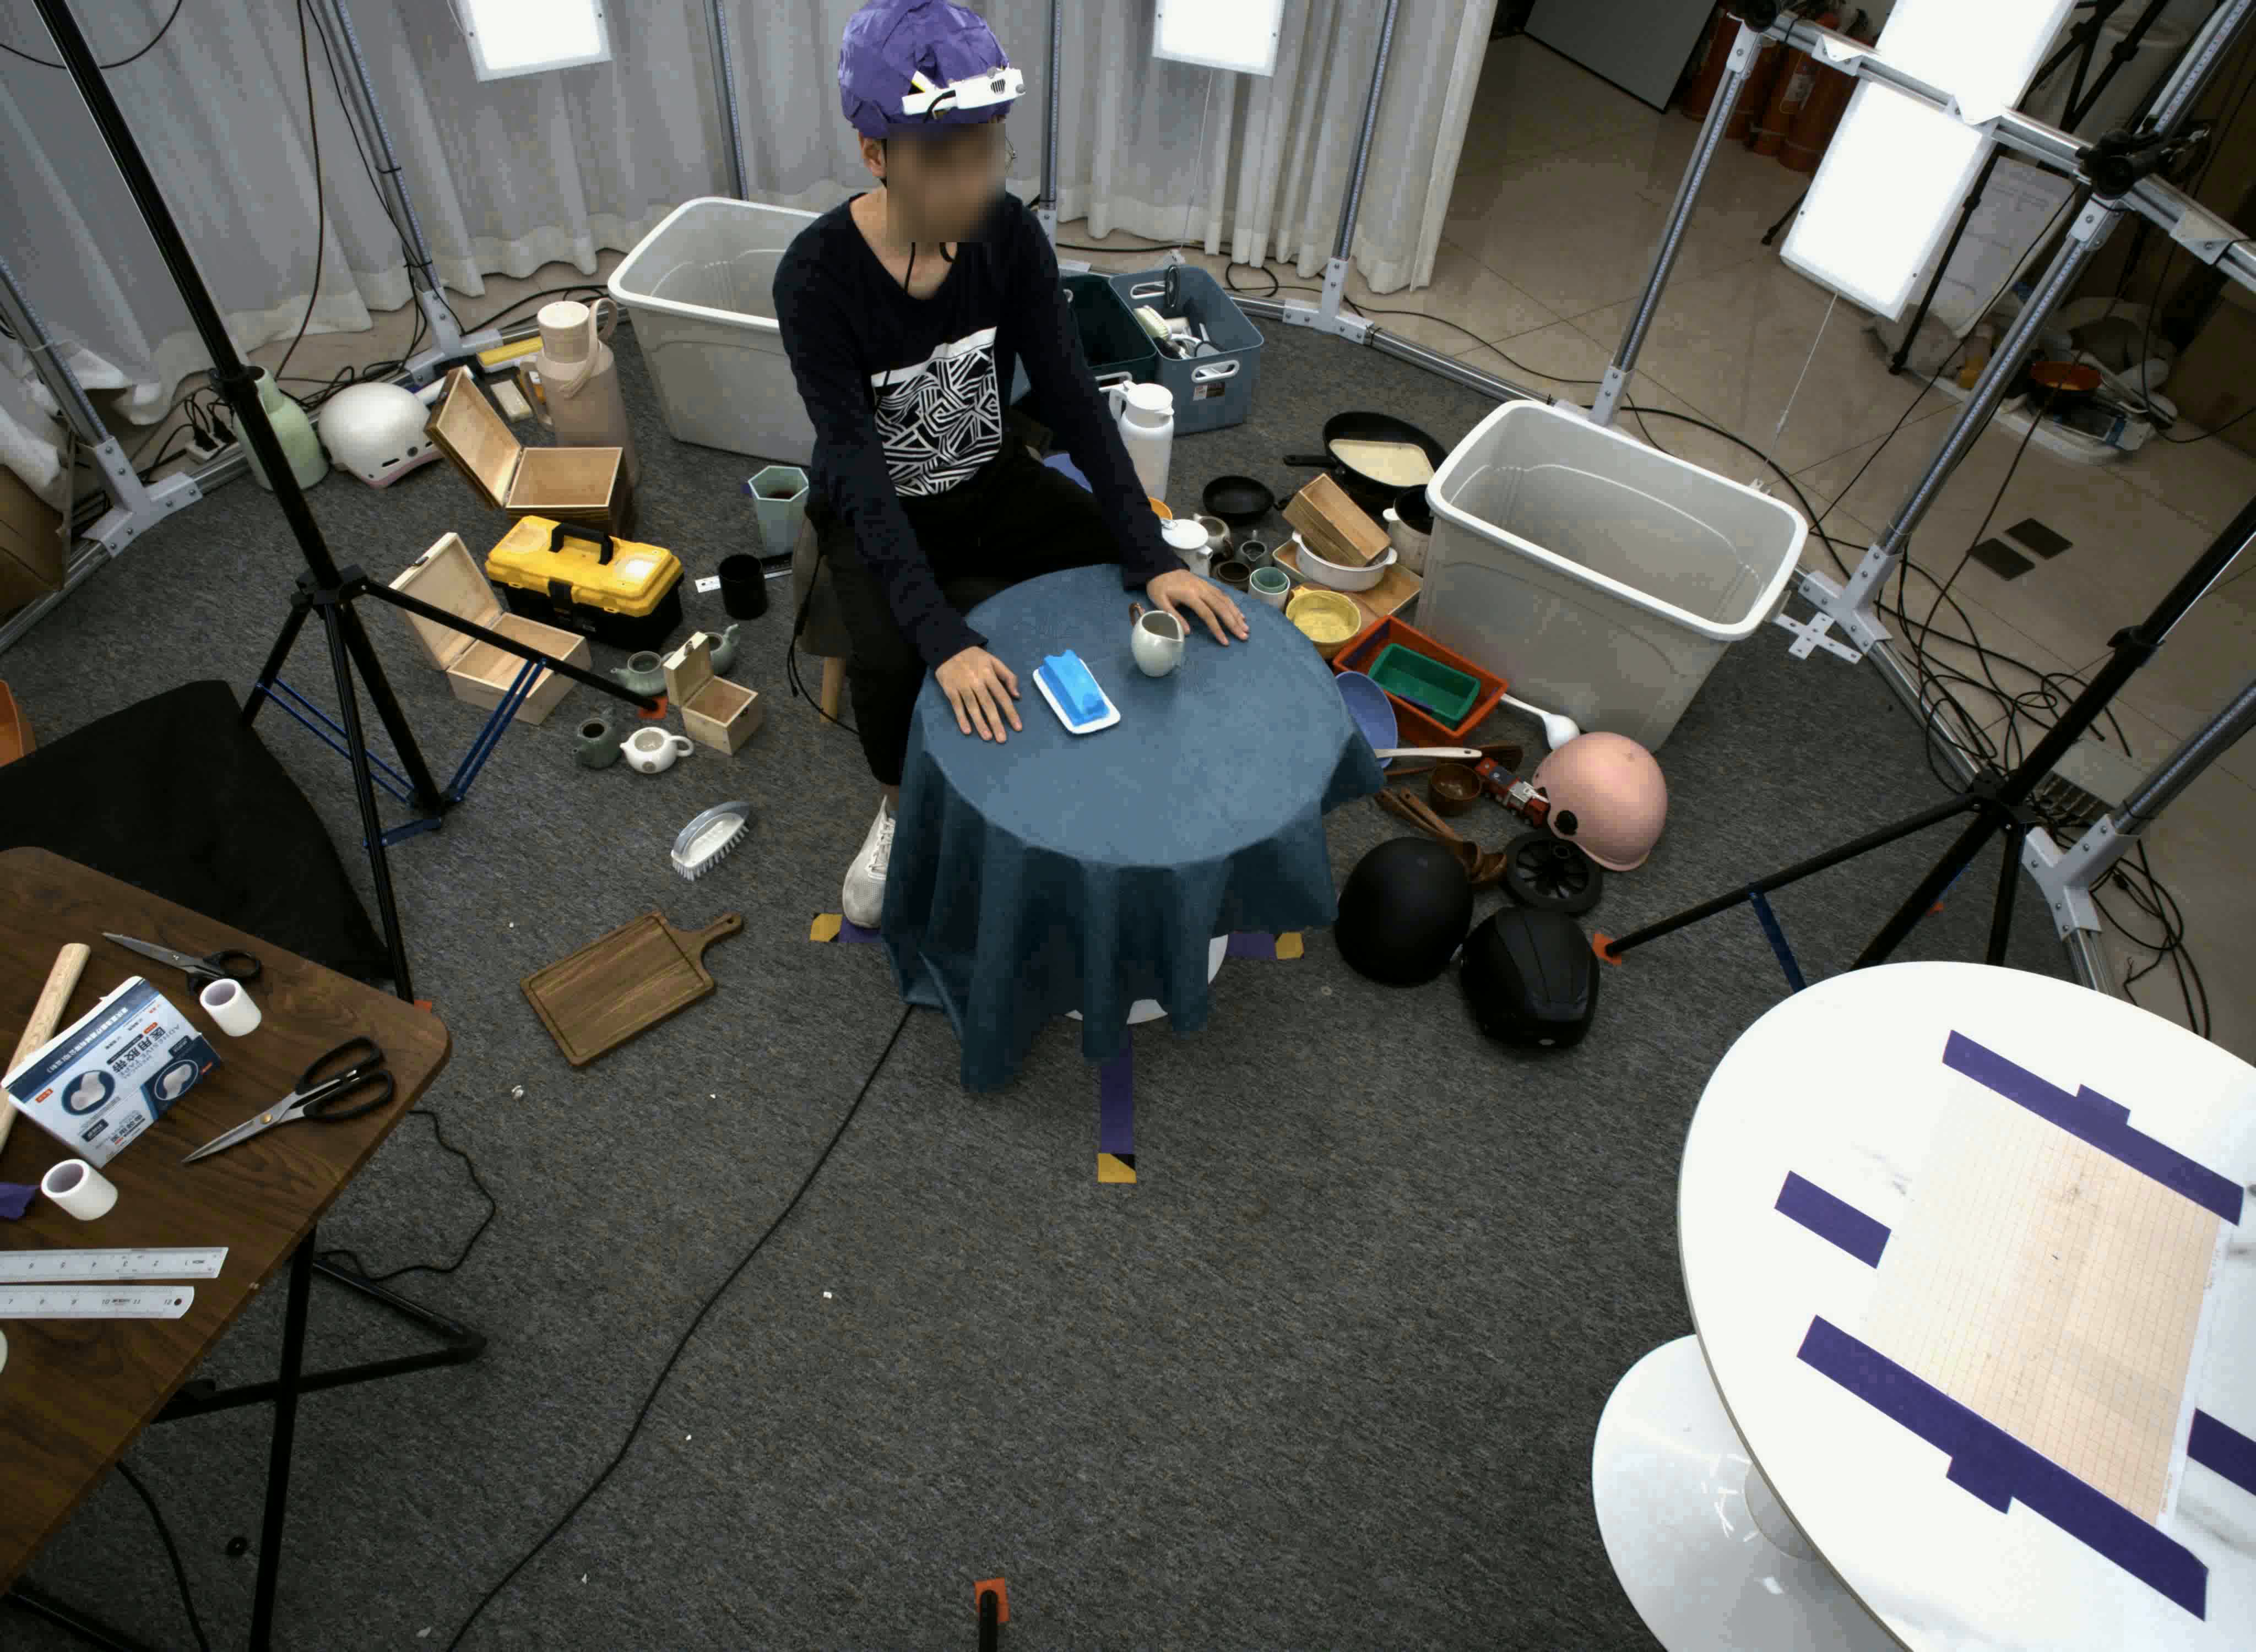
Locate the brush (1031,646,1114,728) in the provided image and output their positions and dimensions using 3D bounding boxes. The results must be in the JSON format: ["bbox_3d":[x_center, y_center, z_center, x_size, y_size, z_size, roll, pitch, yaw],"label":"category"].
[{"bbox_3d":[-0.076,-0.202,1.800,0.084,0.054,0.147,-15,53,-20],"label":"brush"}]

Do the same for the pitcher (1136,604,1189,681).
[{"bbox_3d":[0.044,-0.259,1.840,0.076,0.086,0.121,-19,56,-25],"label":"pitcher"}]
